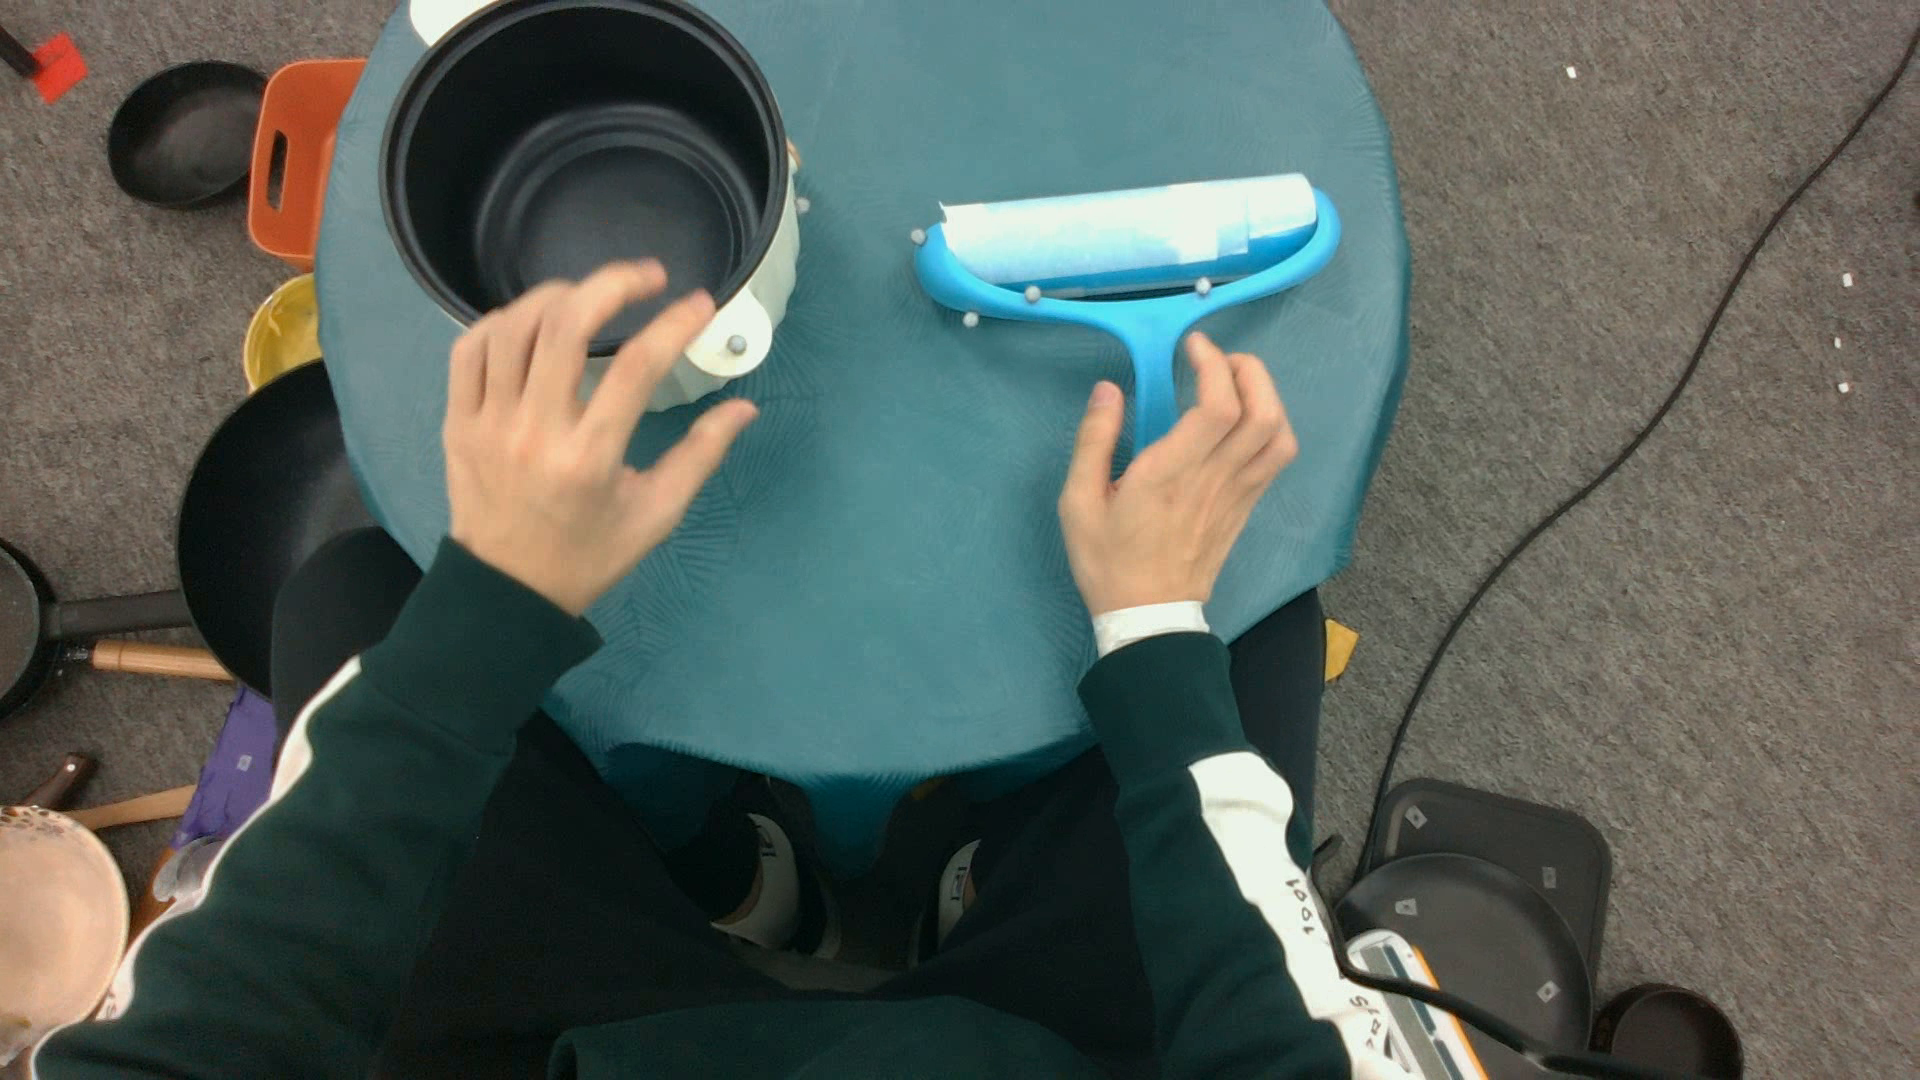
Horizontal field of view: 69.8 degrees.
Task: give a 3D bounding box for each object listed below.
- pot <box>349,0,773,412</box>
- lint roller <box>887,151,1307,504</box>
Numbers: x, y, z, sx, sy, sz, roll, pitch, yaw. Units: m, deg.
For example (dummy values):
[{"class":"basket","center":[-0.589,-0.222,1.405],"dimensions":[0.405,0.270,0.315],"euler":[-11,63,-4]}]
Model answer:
[{"class":"pot","center":[-0.180,-0.161,0.684],"dimensions":[0.191,0.142,0.240],"euler":[-42,85,-7]},{"class":"lint roller","center":[0.087,-0.113,0.731],"dimensions":[0.229,0.068,0.180],"euler":[-11,78,-7]}]
